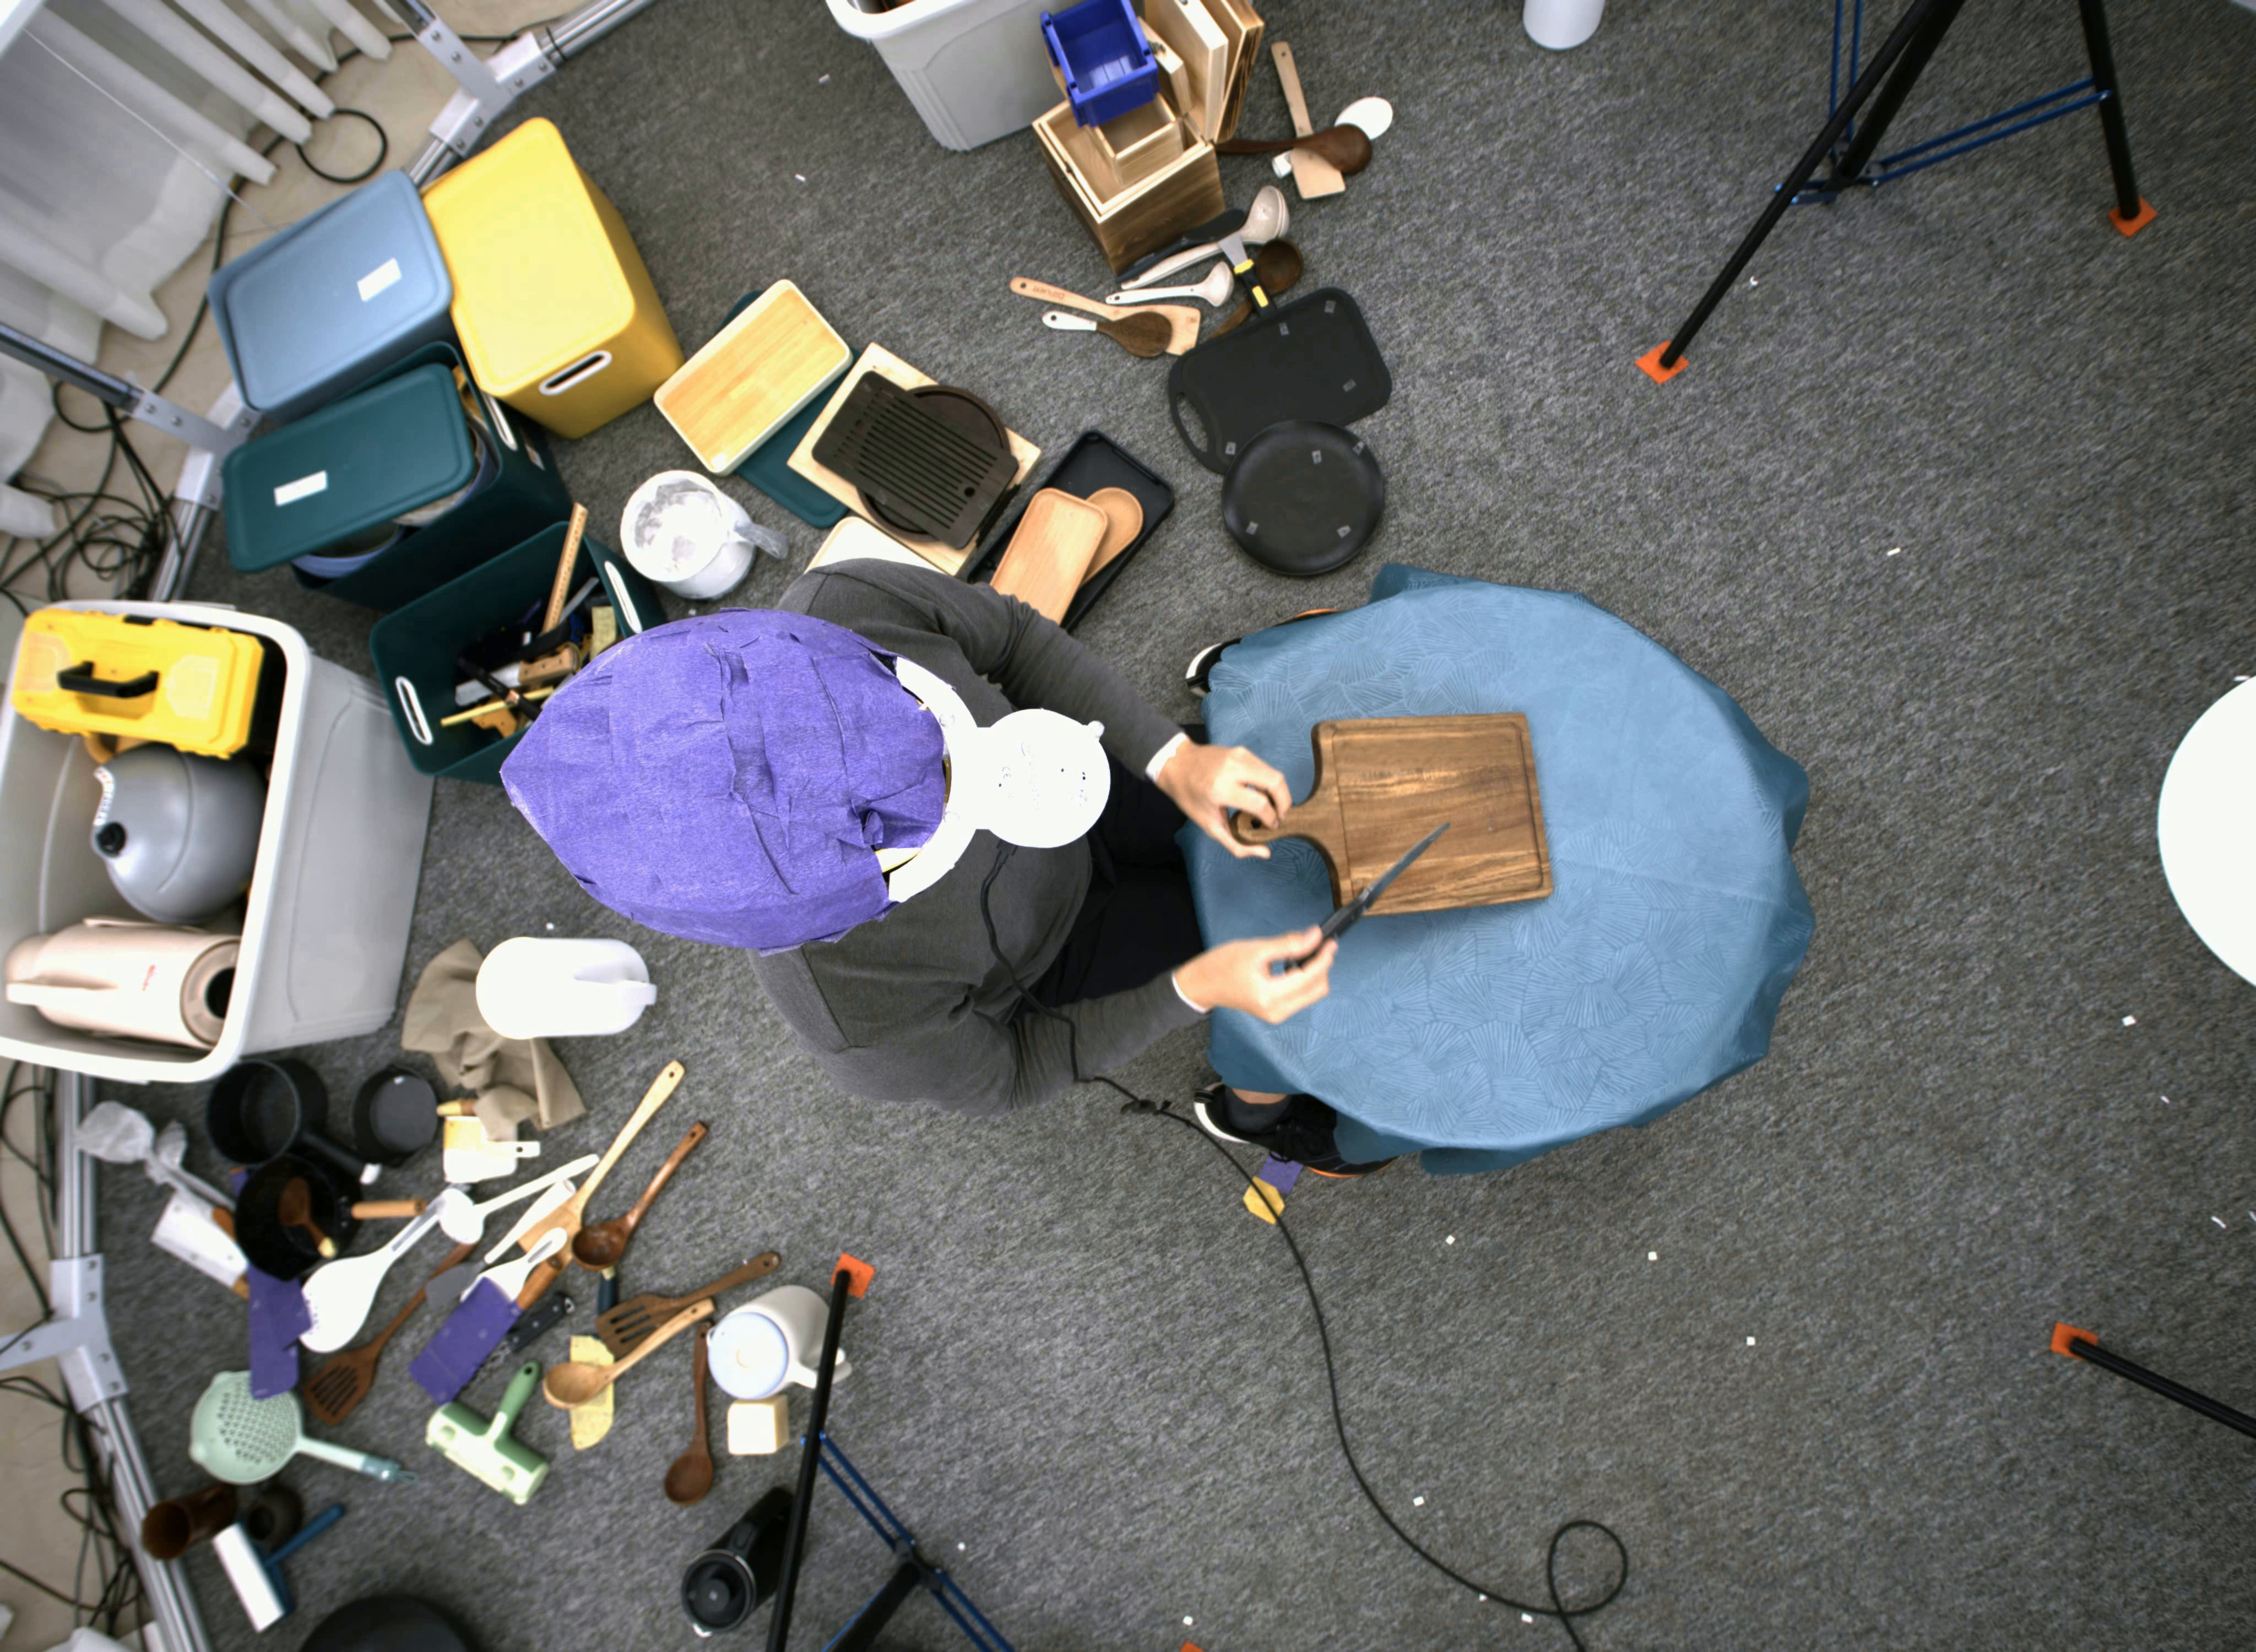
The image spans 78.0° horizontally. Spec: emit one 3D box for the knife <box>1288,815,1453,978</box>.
[{"bbox_3d":[0.229,0.062,1.281,0.234,0.025,0.016,-41,63,-20],"label":"knife"}]

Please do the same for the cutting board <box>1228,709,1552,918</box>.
[{"bbox_3d":[0.261,-0.014,1.369,0.350,0.023,0.200,-5,85,-20],"label":"cutting board"}]
